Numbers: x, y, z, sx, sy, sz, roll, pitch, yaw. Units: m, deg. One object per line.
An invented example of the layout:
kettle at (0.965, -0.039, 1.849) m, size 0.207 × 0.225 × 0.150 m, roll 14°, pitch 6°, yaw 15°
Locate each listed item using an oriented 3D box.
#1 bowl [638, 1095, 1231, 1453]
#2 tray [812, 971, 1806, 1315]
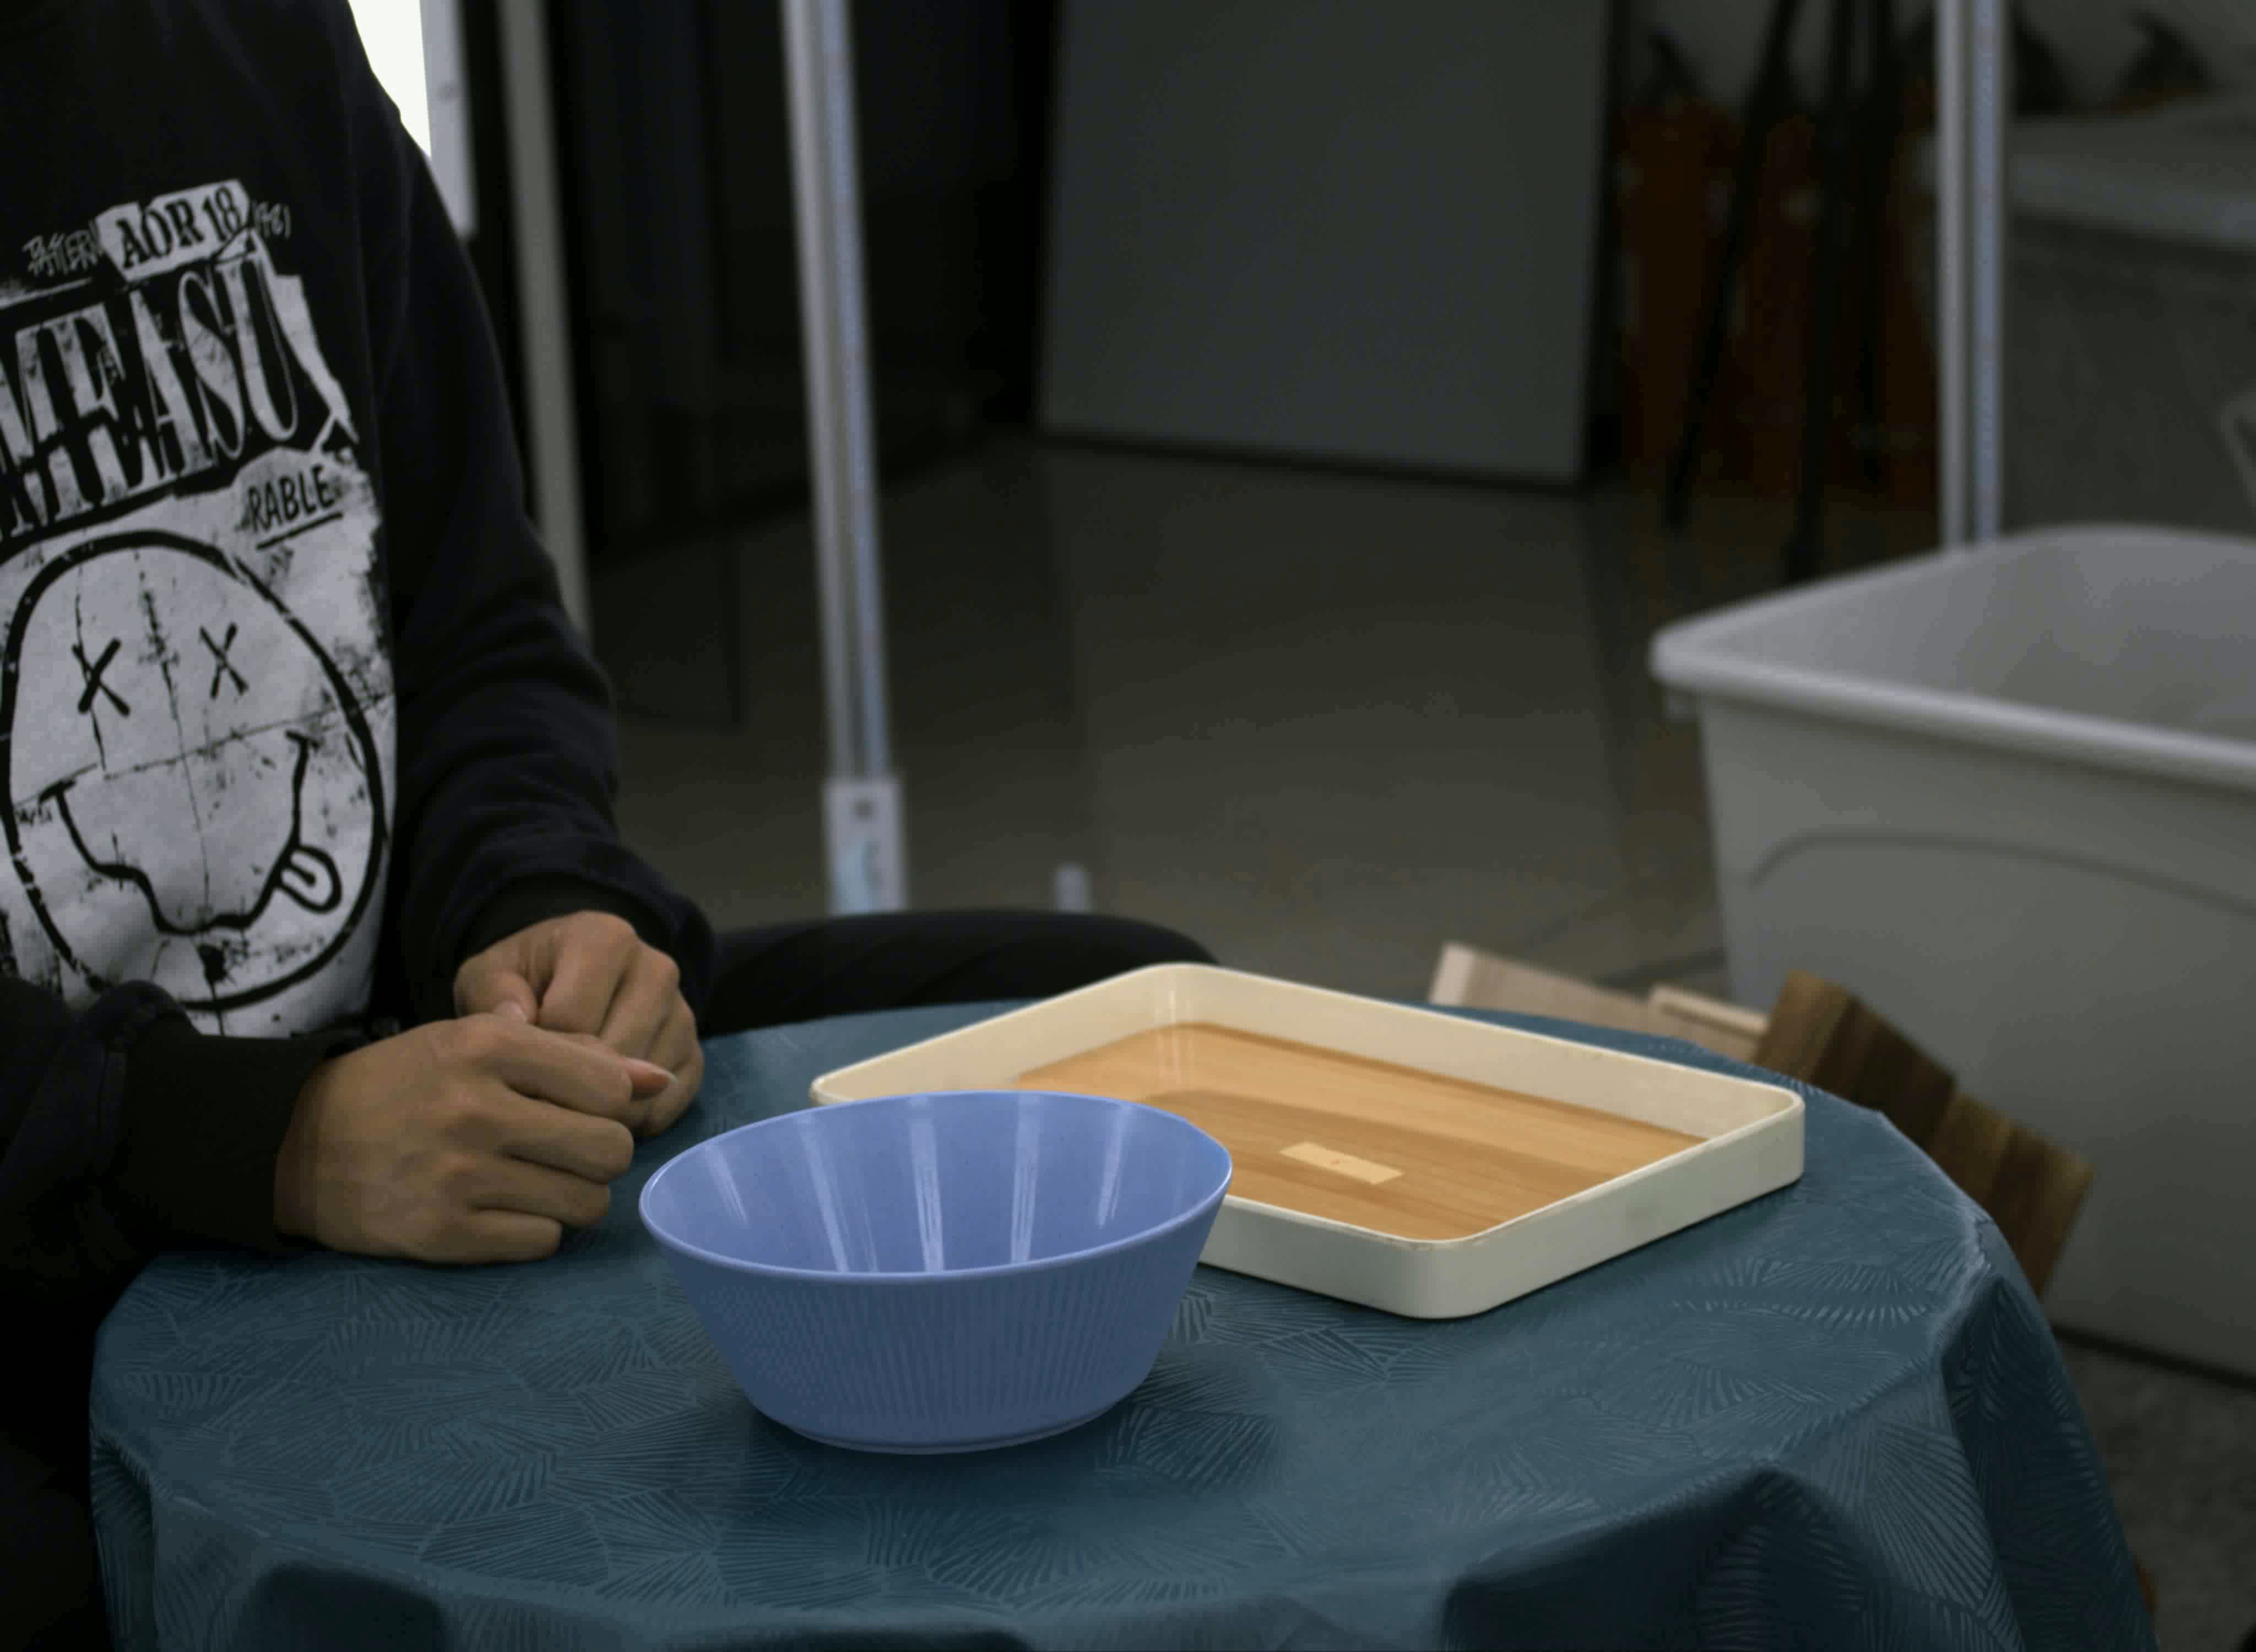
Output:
bowl at (-0.055, 0.134, 1.587) m, size 0.174 × 0.071 × 0.176 m, roll -3°, pitch 13°, yaw 0°
tray at (0.057, 0.101, 1.781) m, size 0.187 × 0.028 × 0.303 m, roll -16°, pitch 18°, yaw -42°
